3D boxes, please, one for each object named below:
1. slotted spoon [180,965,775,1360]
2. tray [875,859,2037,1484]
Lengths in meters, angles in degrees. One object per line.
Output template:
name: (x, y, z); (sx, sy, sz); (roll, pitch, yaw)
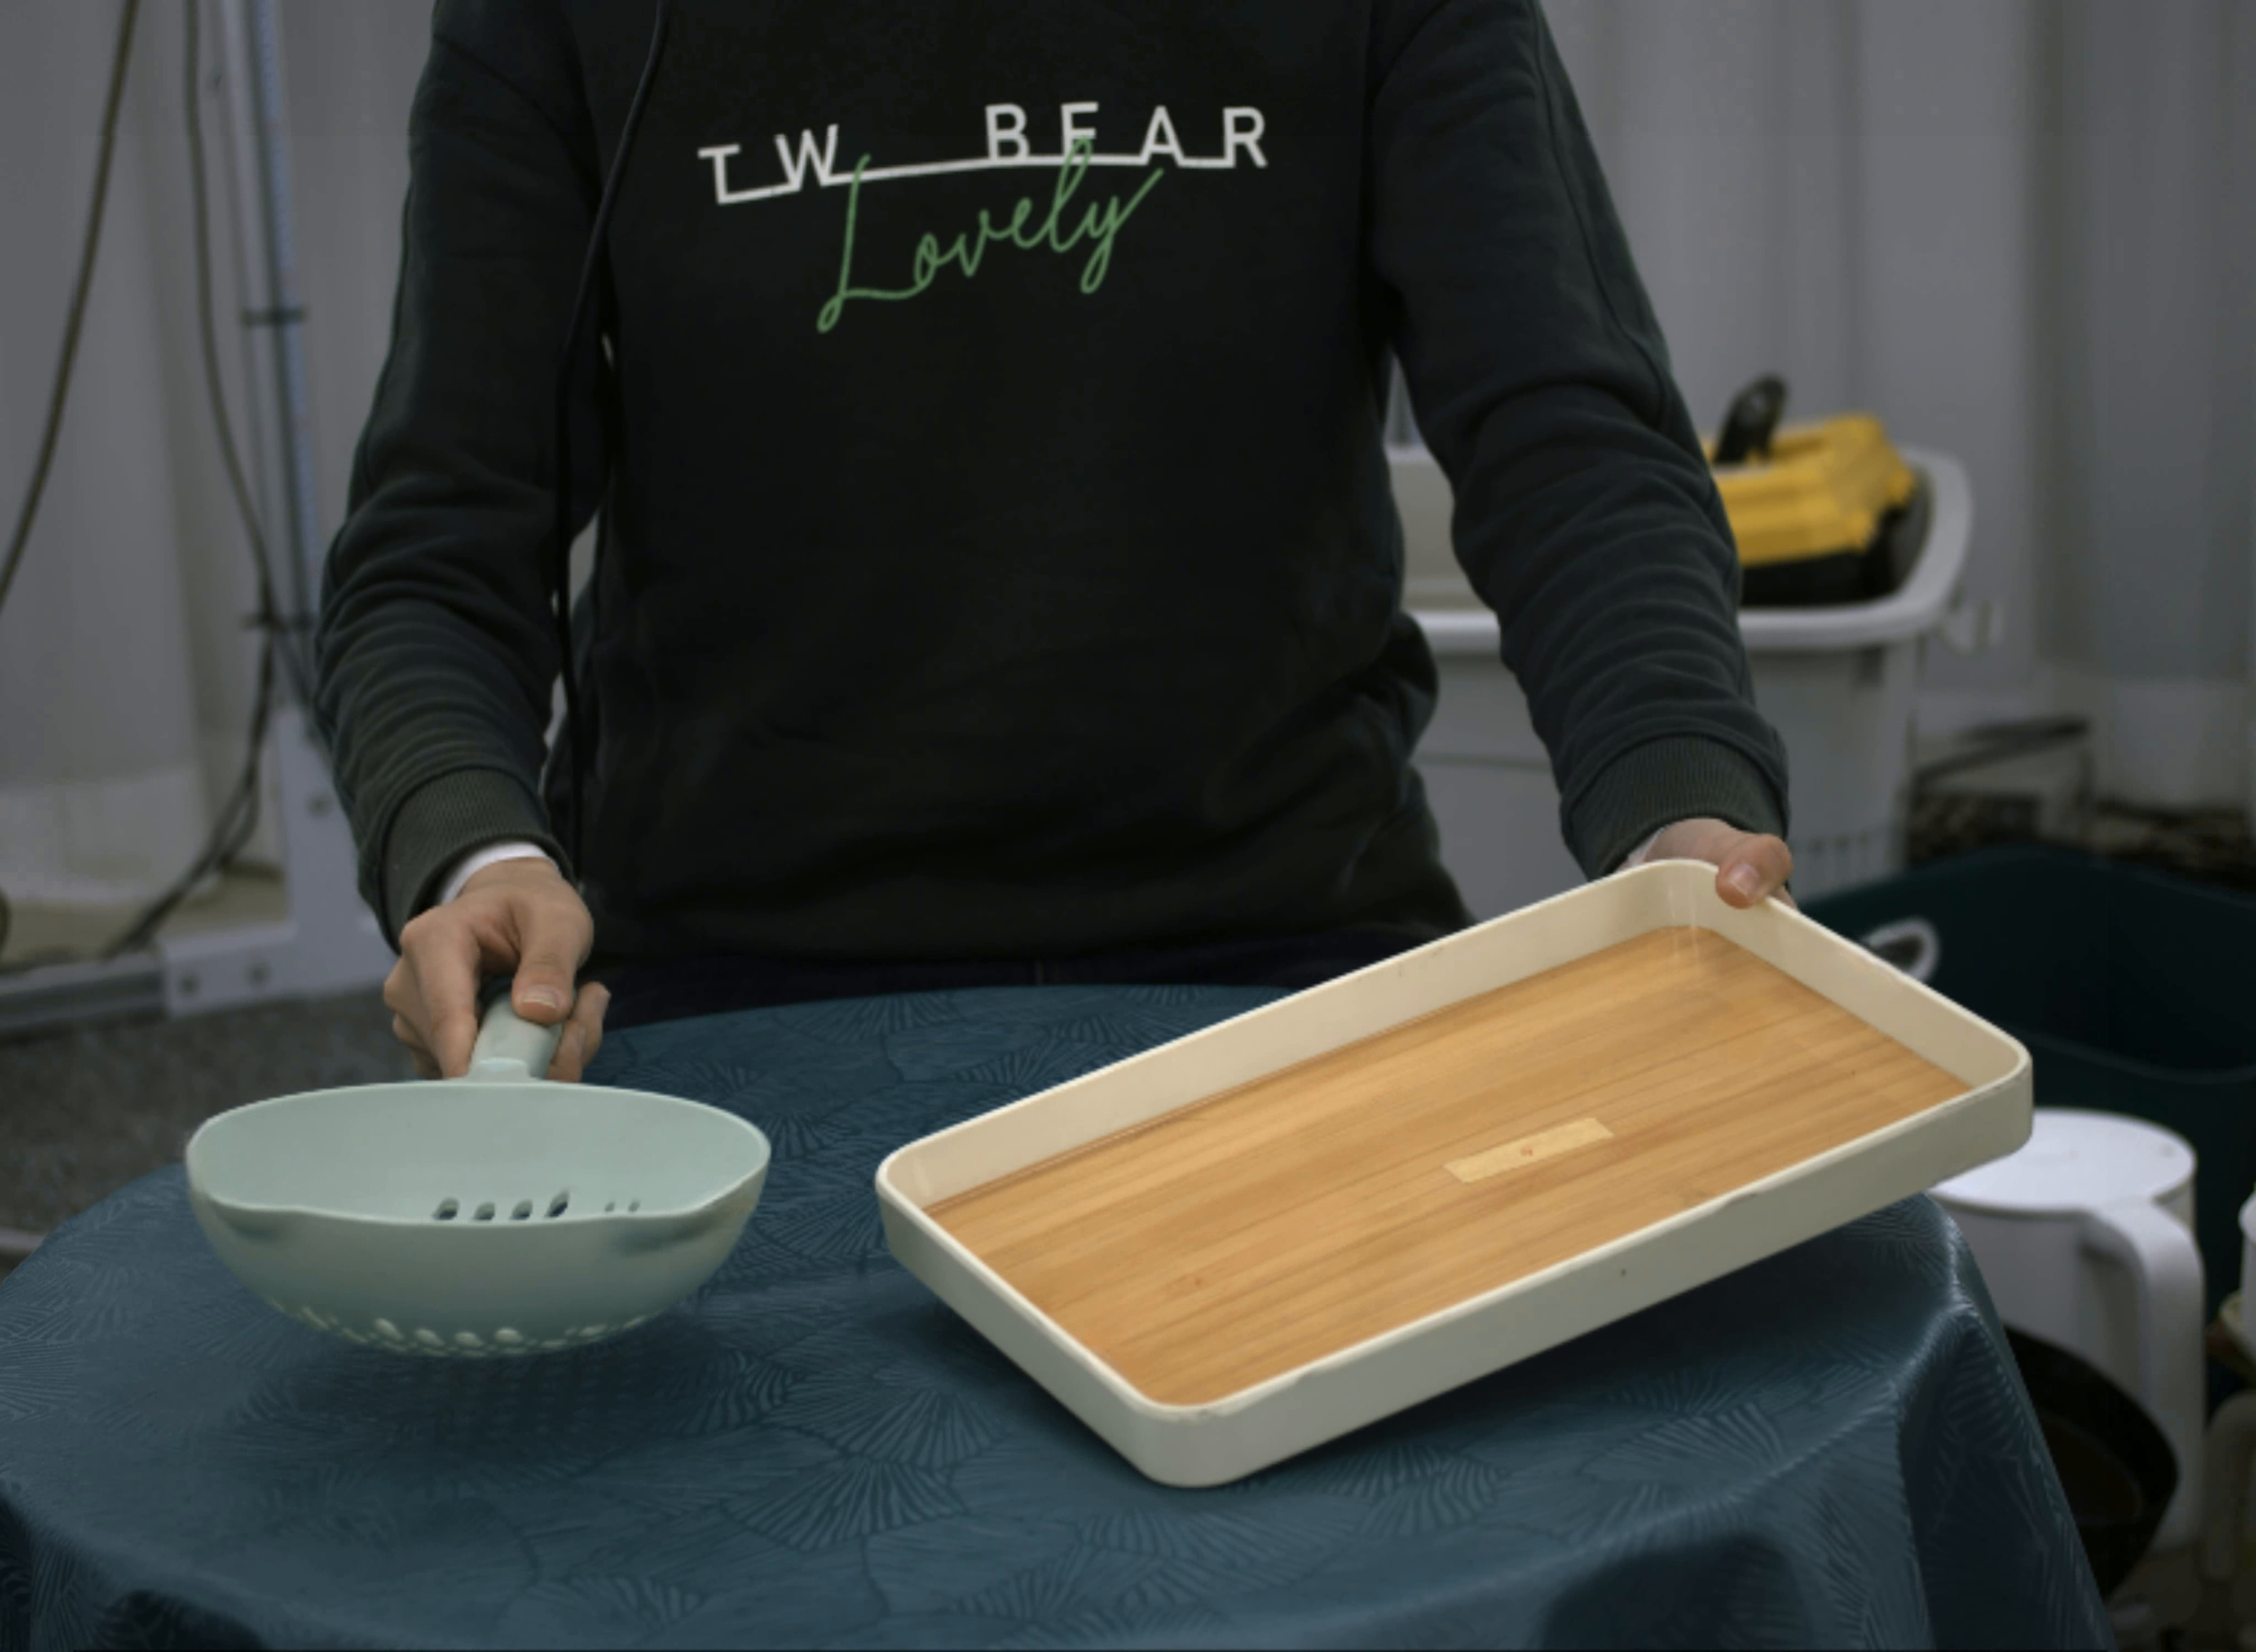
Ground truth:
slotted spoon: (-0.190, 0.086, 1.659); (0.169, 0.075, 0.362); (2, 18, -3)
tray: (0.095, 0.095, 1.595); (0.299, 0.027, 0.193); (-19, 28, -23)
